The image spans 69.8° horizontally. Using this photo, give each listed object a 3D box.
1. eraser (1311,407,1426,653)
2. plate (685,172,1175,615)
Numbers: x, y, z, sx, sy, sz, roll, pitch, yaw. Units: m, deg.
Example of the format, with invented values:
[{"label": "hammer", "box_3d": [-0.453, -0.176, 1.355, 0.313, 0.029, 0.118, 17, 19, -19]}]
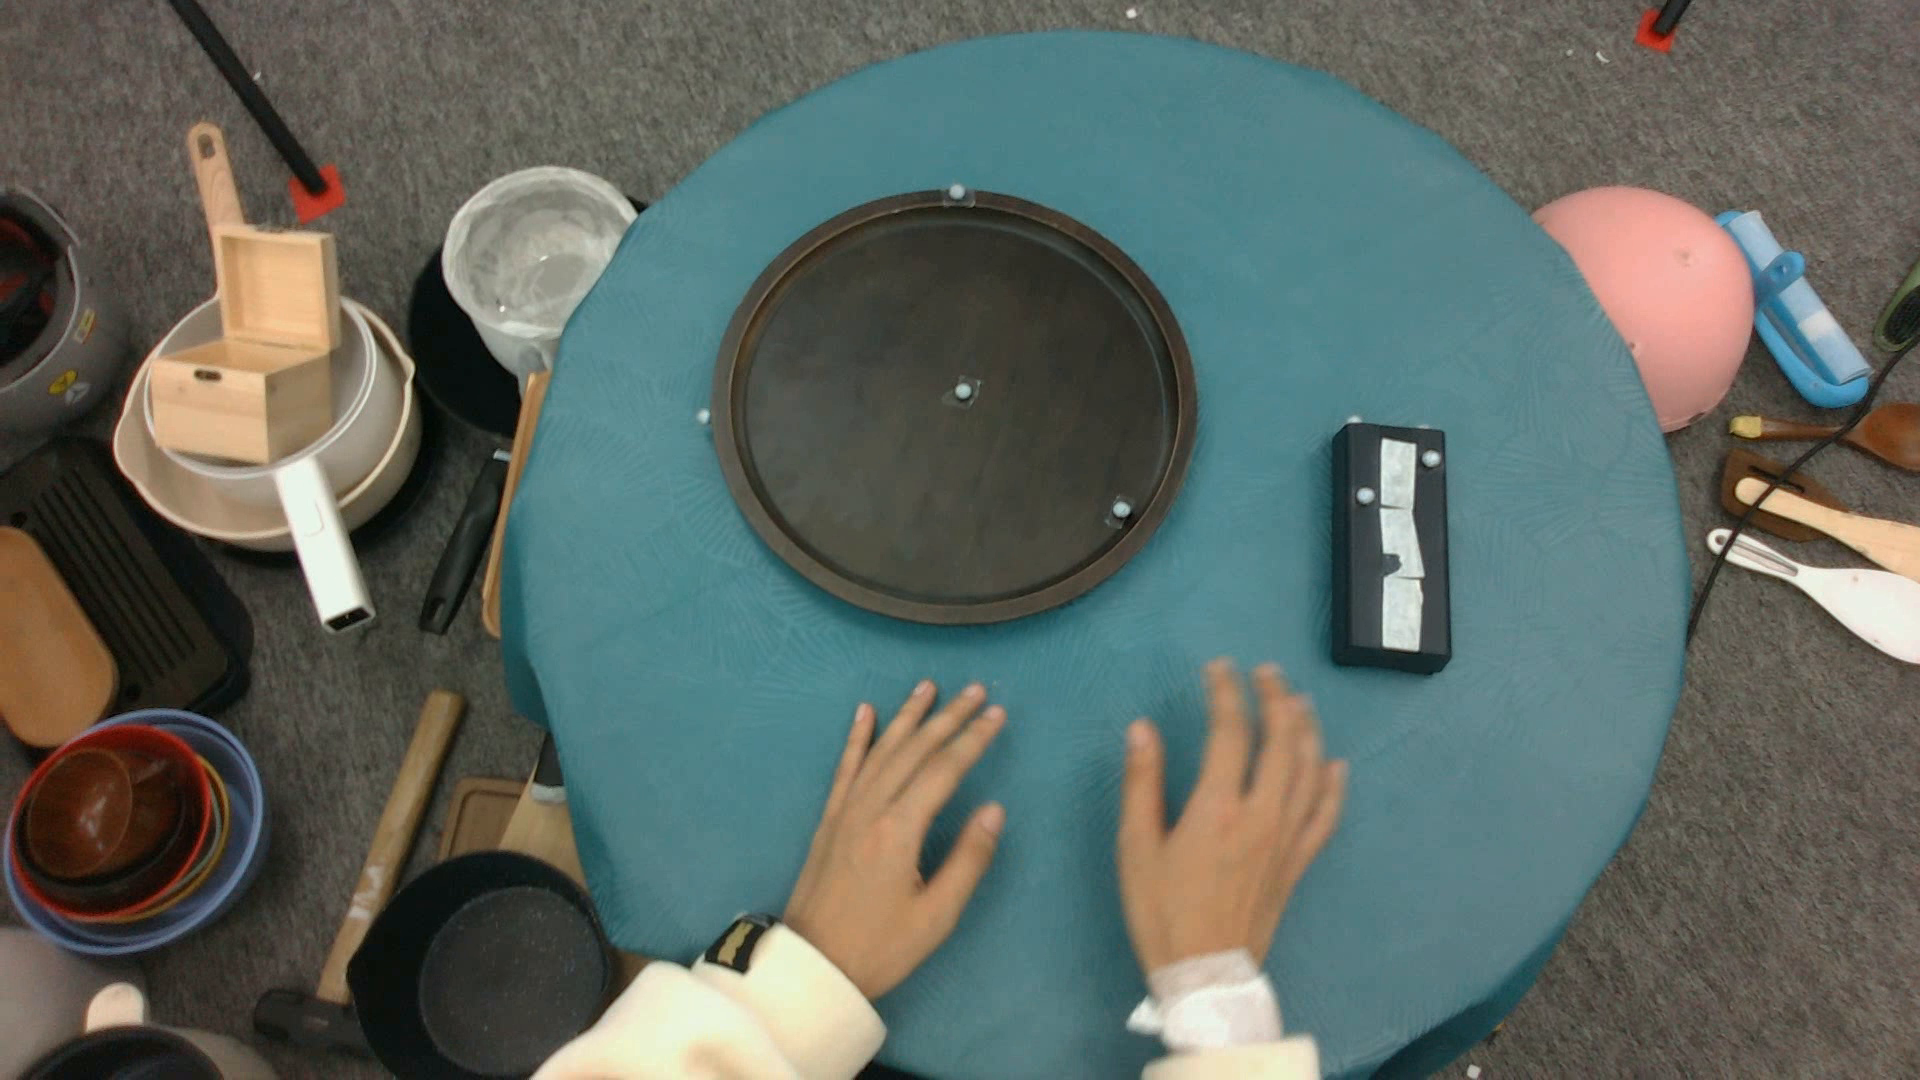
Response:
[{"label": "eraser", "box_3d": [0.204, -0.006, 0.695, 0.053, 0.030, 0.126, 4, 70, 2]}, {"label": "plate", "box_3d": [-0.015, -0.080, 0.717, 0.255, 0.029, 0.255, 1, 68, -2]}]
